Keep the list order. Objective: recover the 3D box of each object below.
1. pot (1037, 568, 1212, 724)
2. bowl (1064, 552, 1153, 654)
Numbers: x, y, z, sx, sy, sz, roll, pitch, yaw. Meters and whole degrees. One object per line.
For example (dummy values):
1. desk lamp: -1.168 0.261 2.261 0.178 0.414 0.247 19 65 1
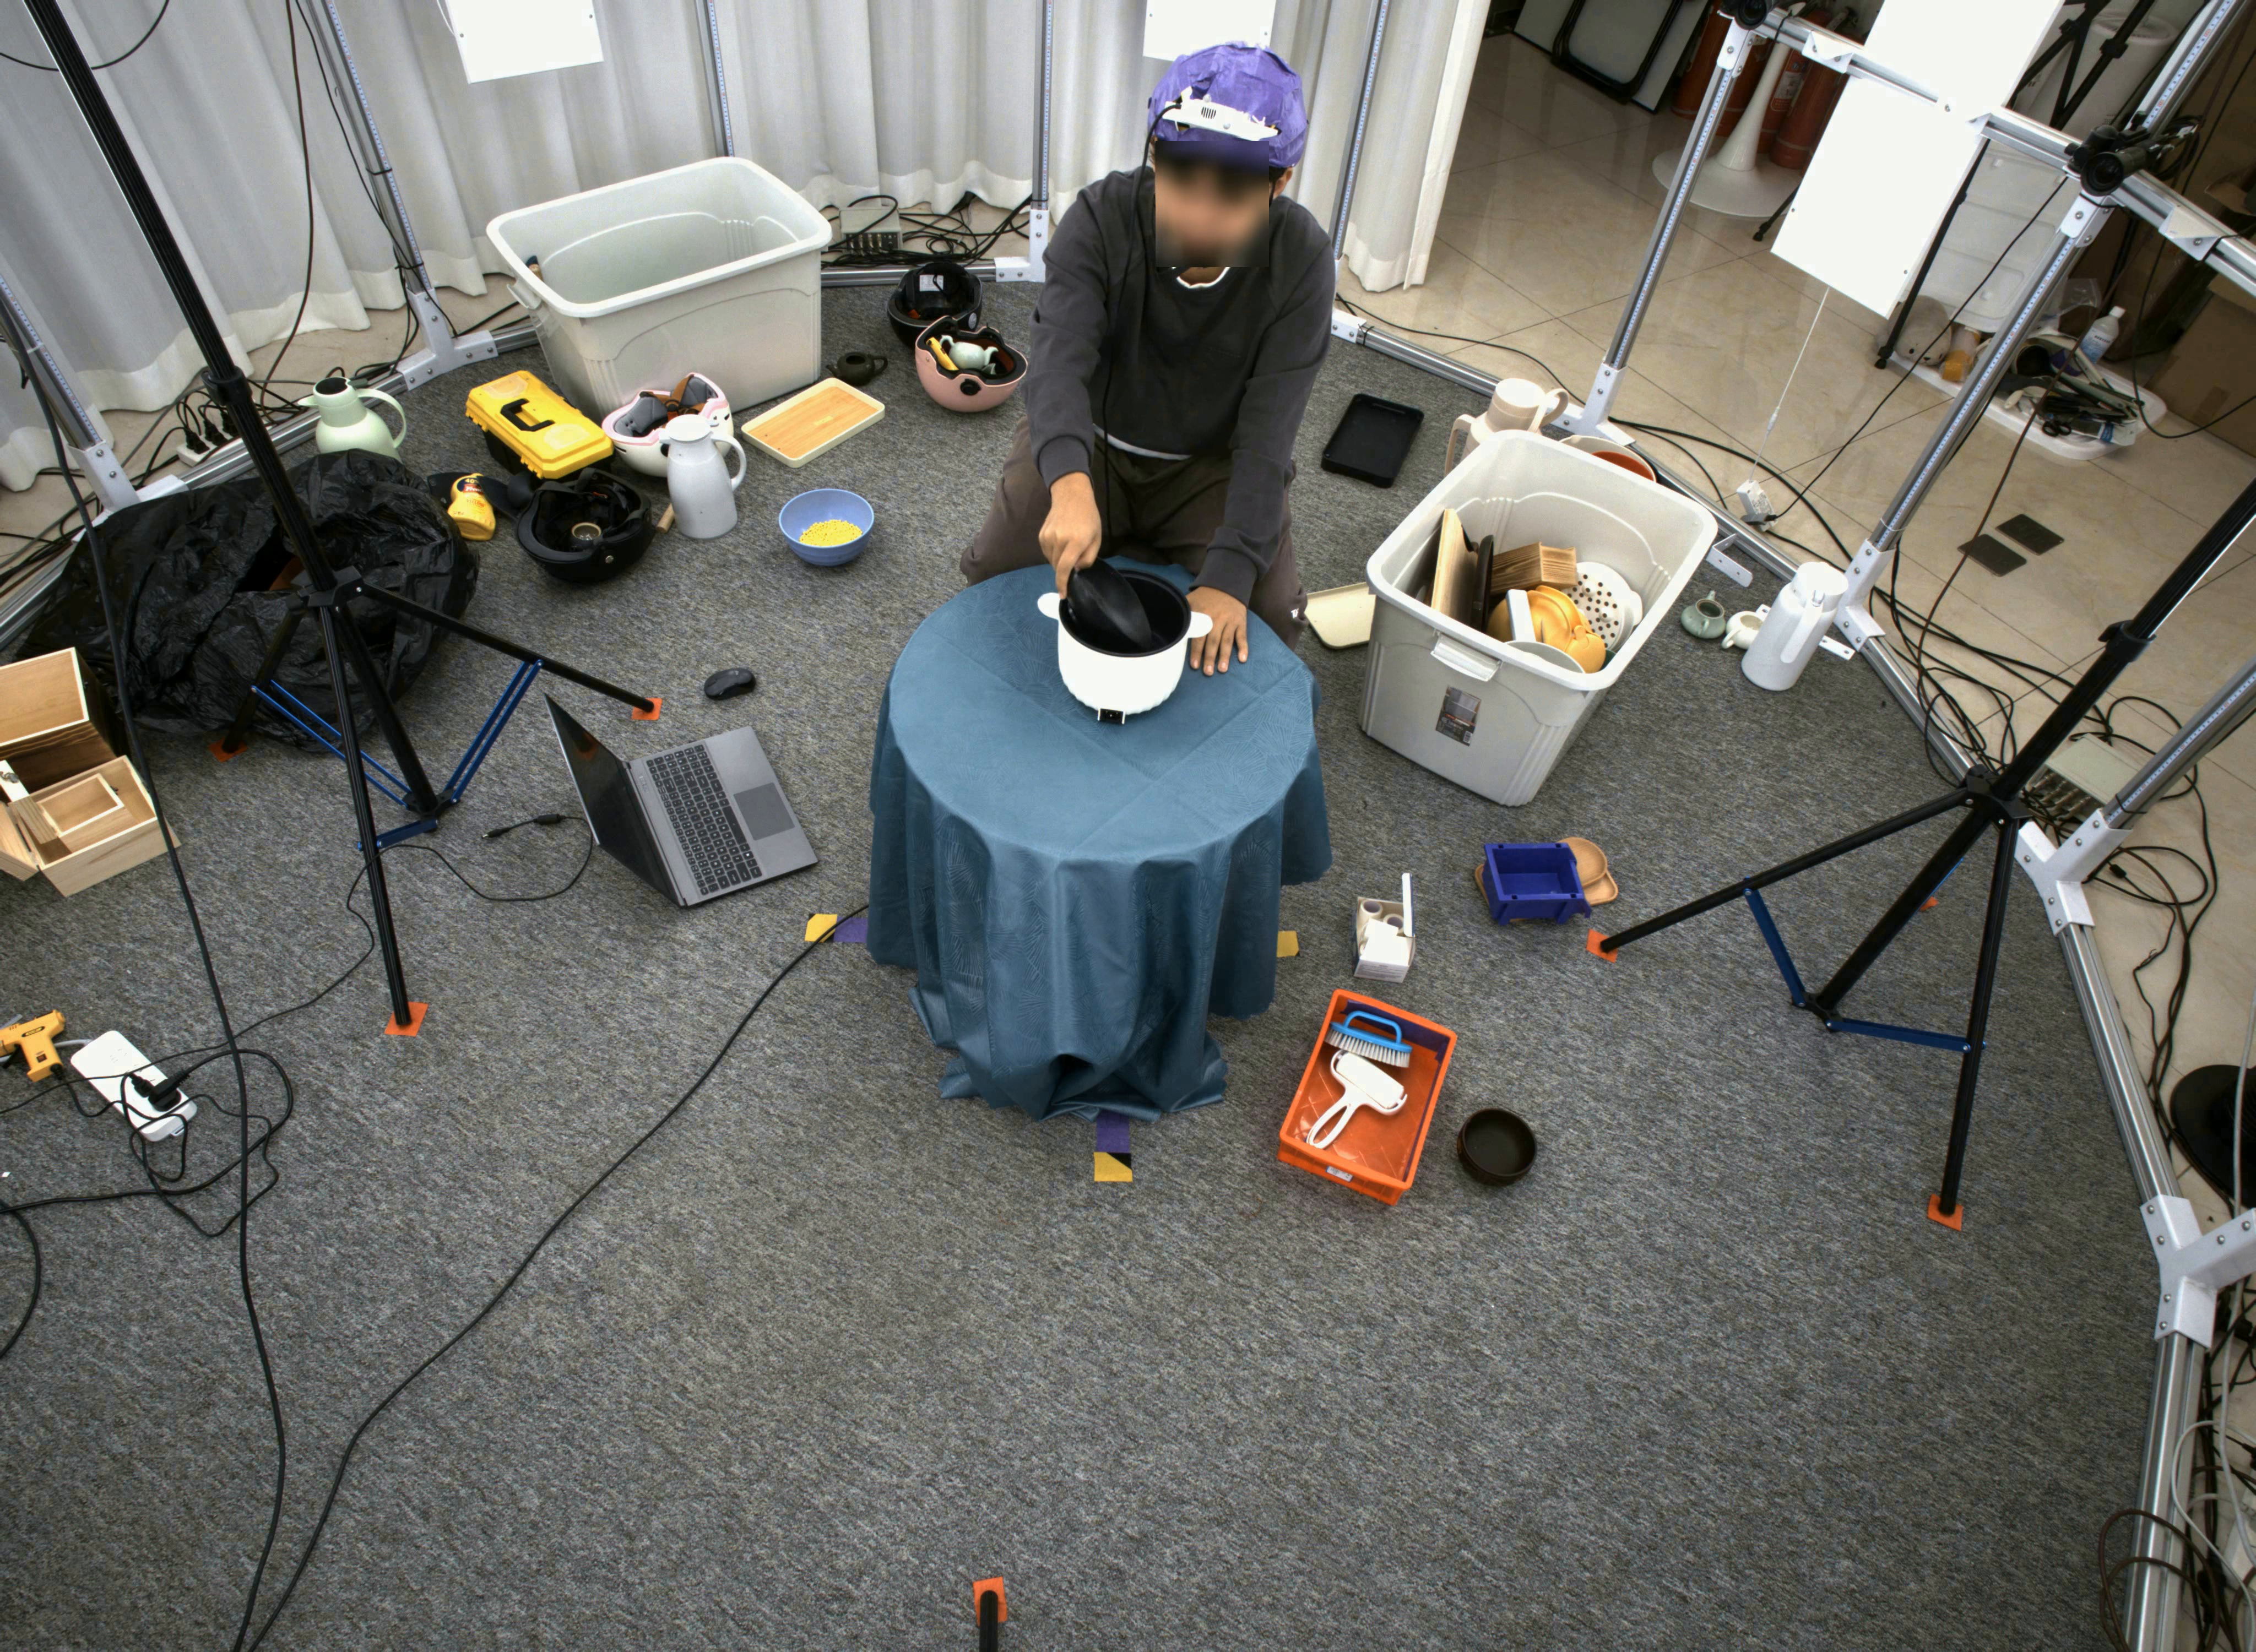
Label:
1. pot: -0.009 -0.255 1.797 0.240 0.139 0.195 8 52 1
2. bowl: -0.036 -0.293 1.753 0.066 0.167 0.141 -31 38 23
